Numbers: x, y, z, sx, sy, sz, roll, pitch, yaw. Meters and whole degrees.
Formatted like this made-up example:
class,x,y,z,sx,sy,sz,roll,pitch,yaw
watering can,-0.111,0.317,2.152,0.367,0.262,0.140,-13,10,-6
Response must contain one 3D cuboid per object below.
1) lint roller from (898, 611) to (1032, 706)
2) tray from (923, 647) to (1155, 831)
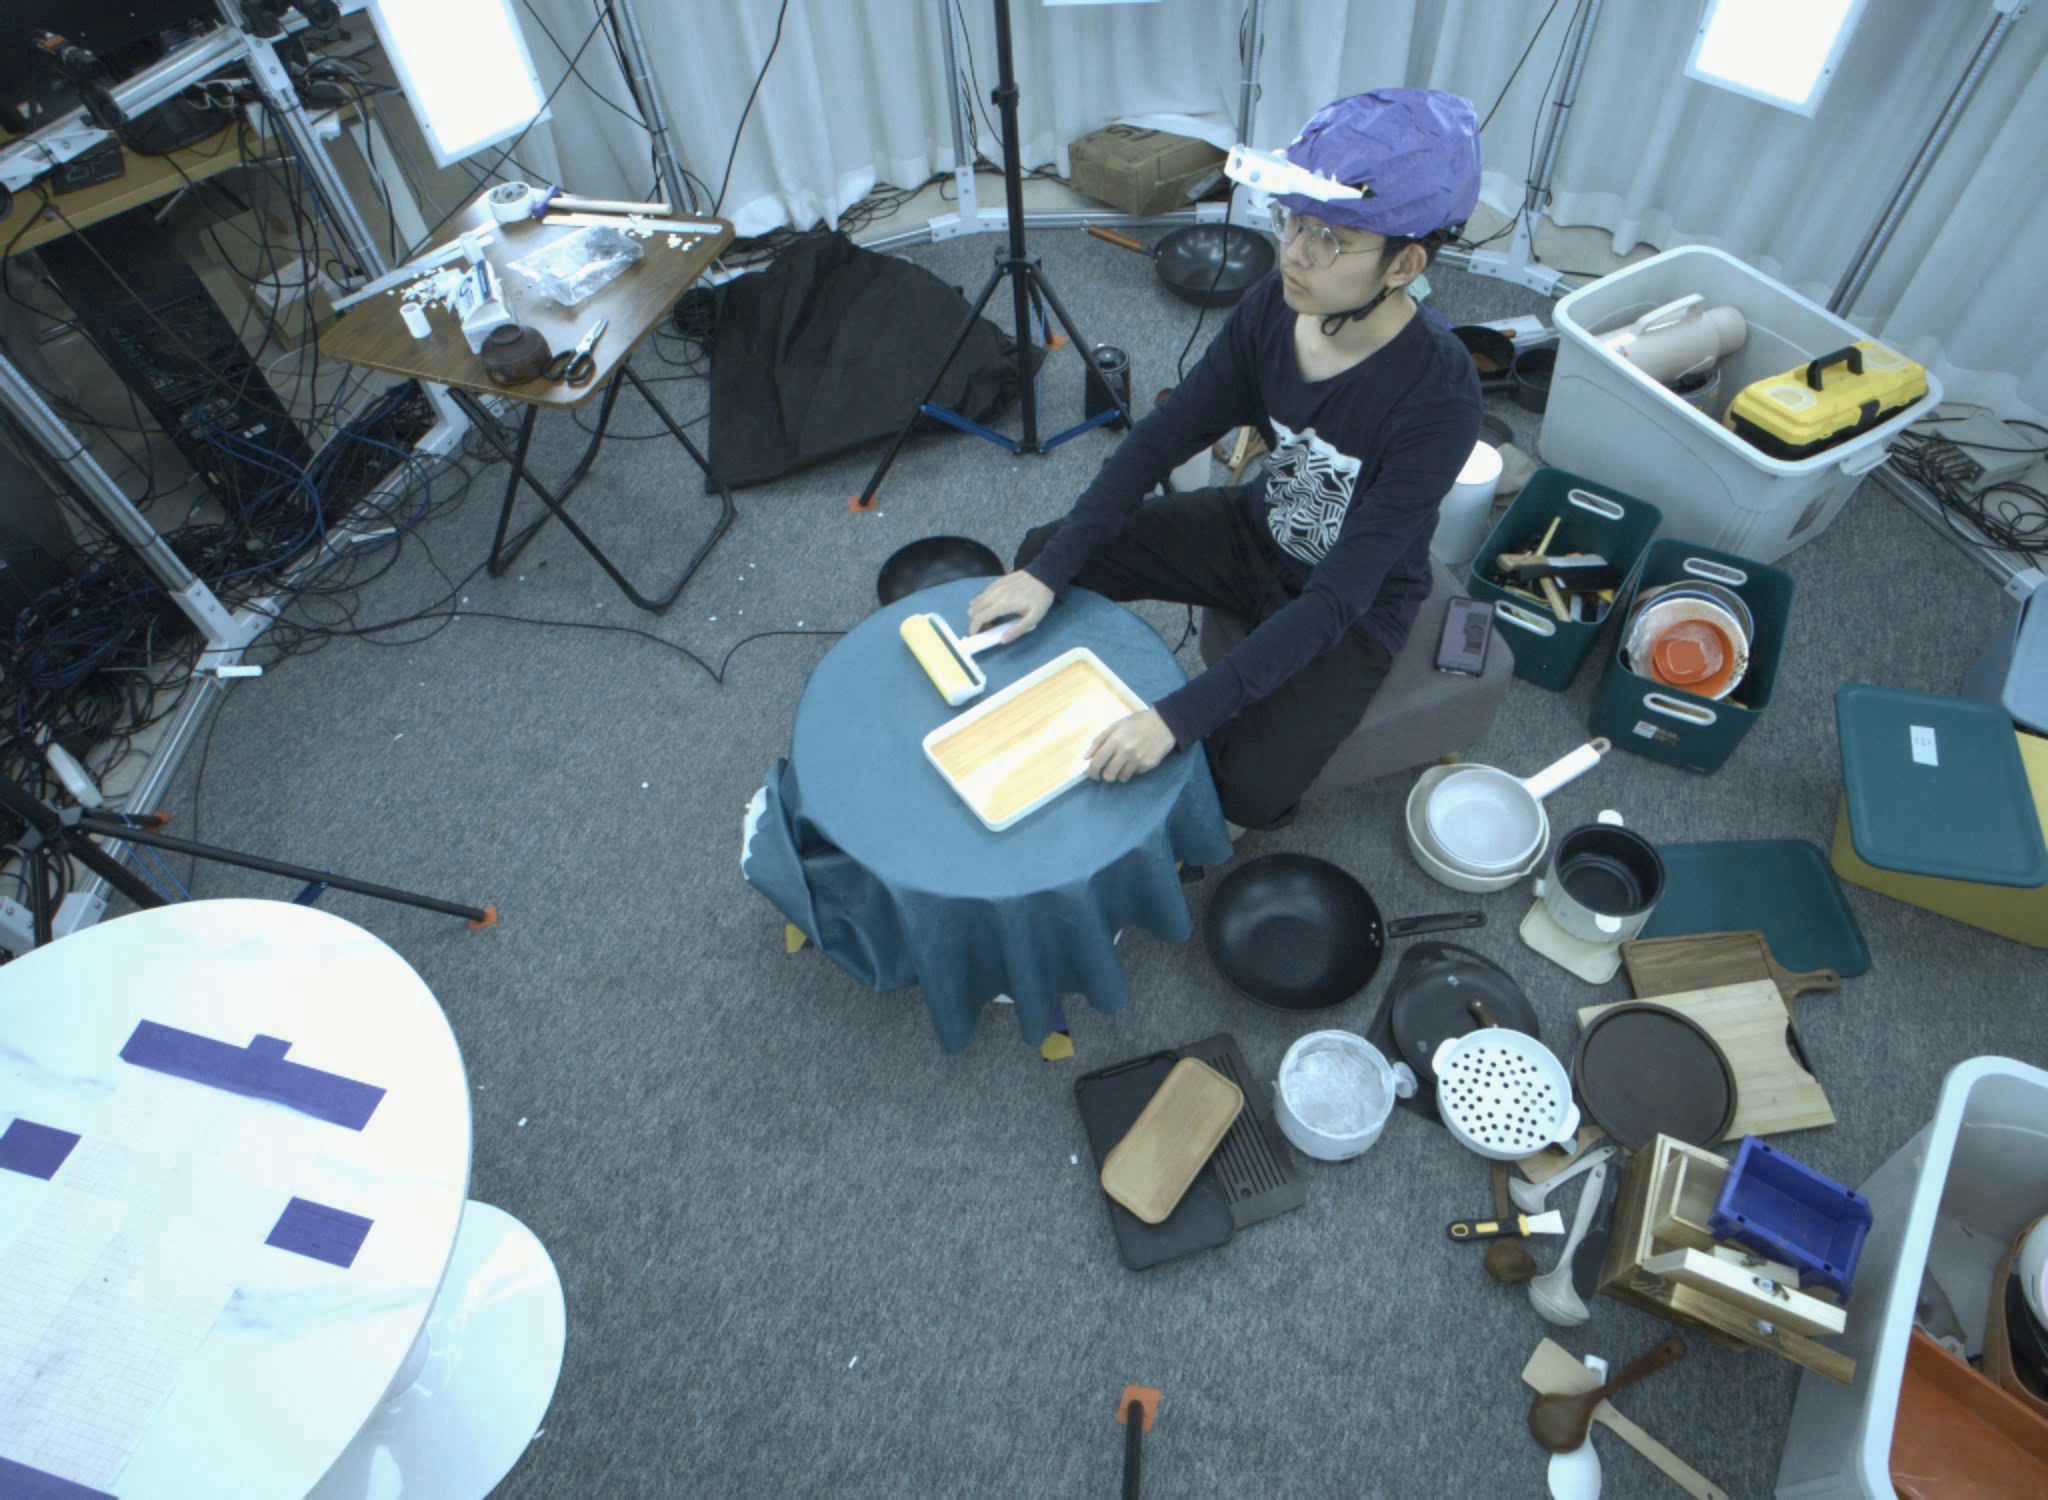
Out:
class,x,y,z,sx,sy,sz,roll,pitch,yaw
lint roller,-0.074,-0.174,1.885,0.193,0.052,0.171,-31,60,-12
tray,0.023,-0.021,1.793,0.303,0.027,0.188,-31,60,-20
